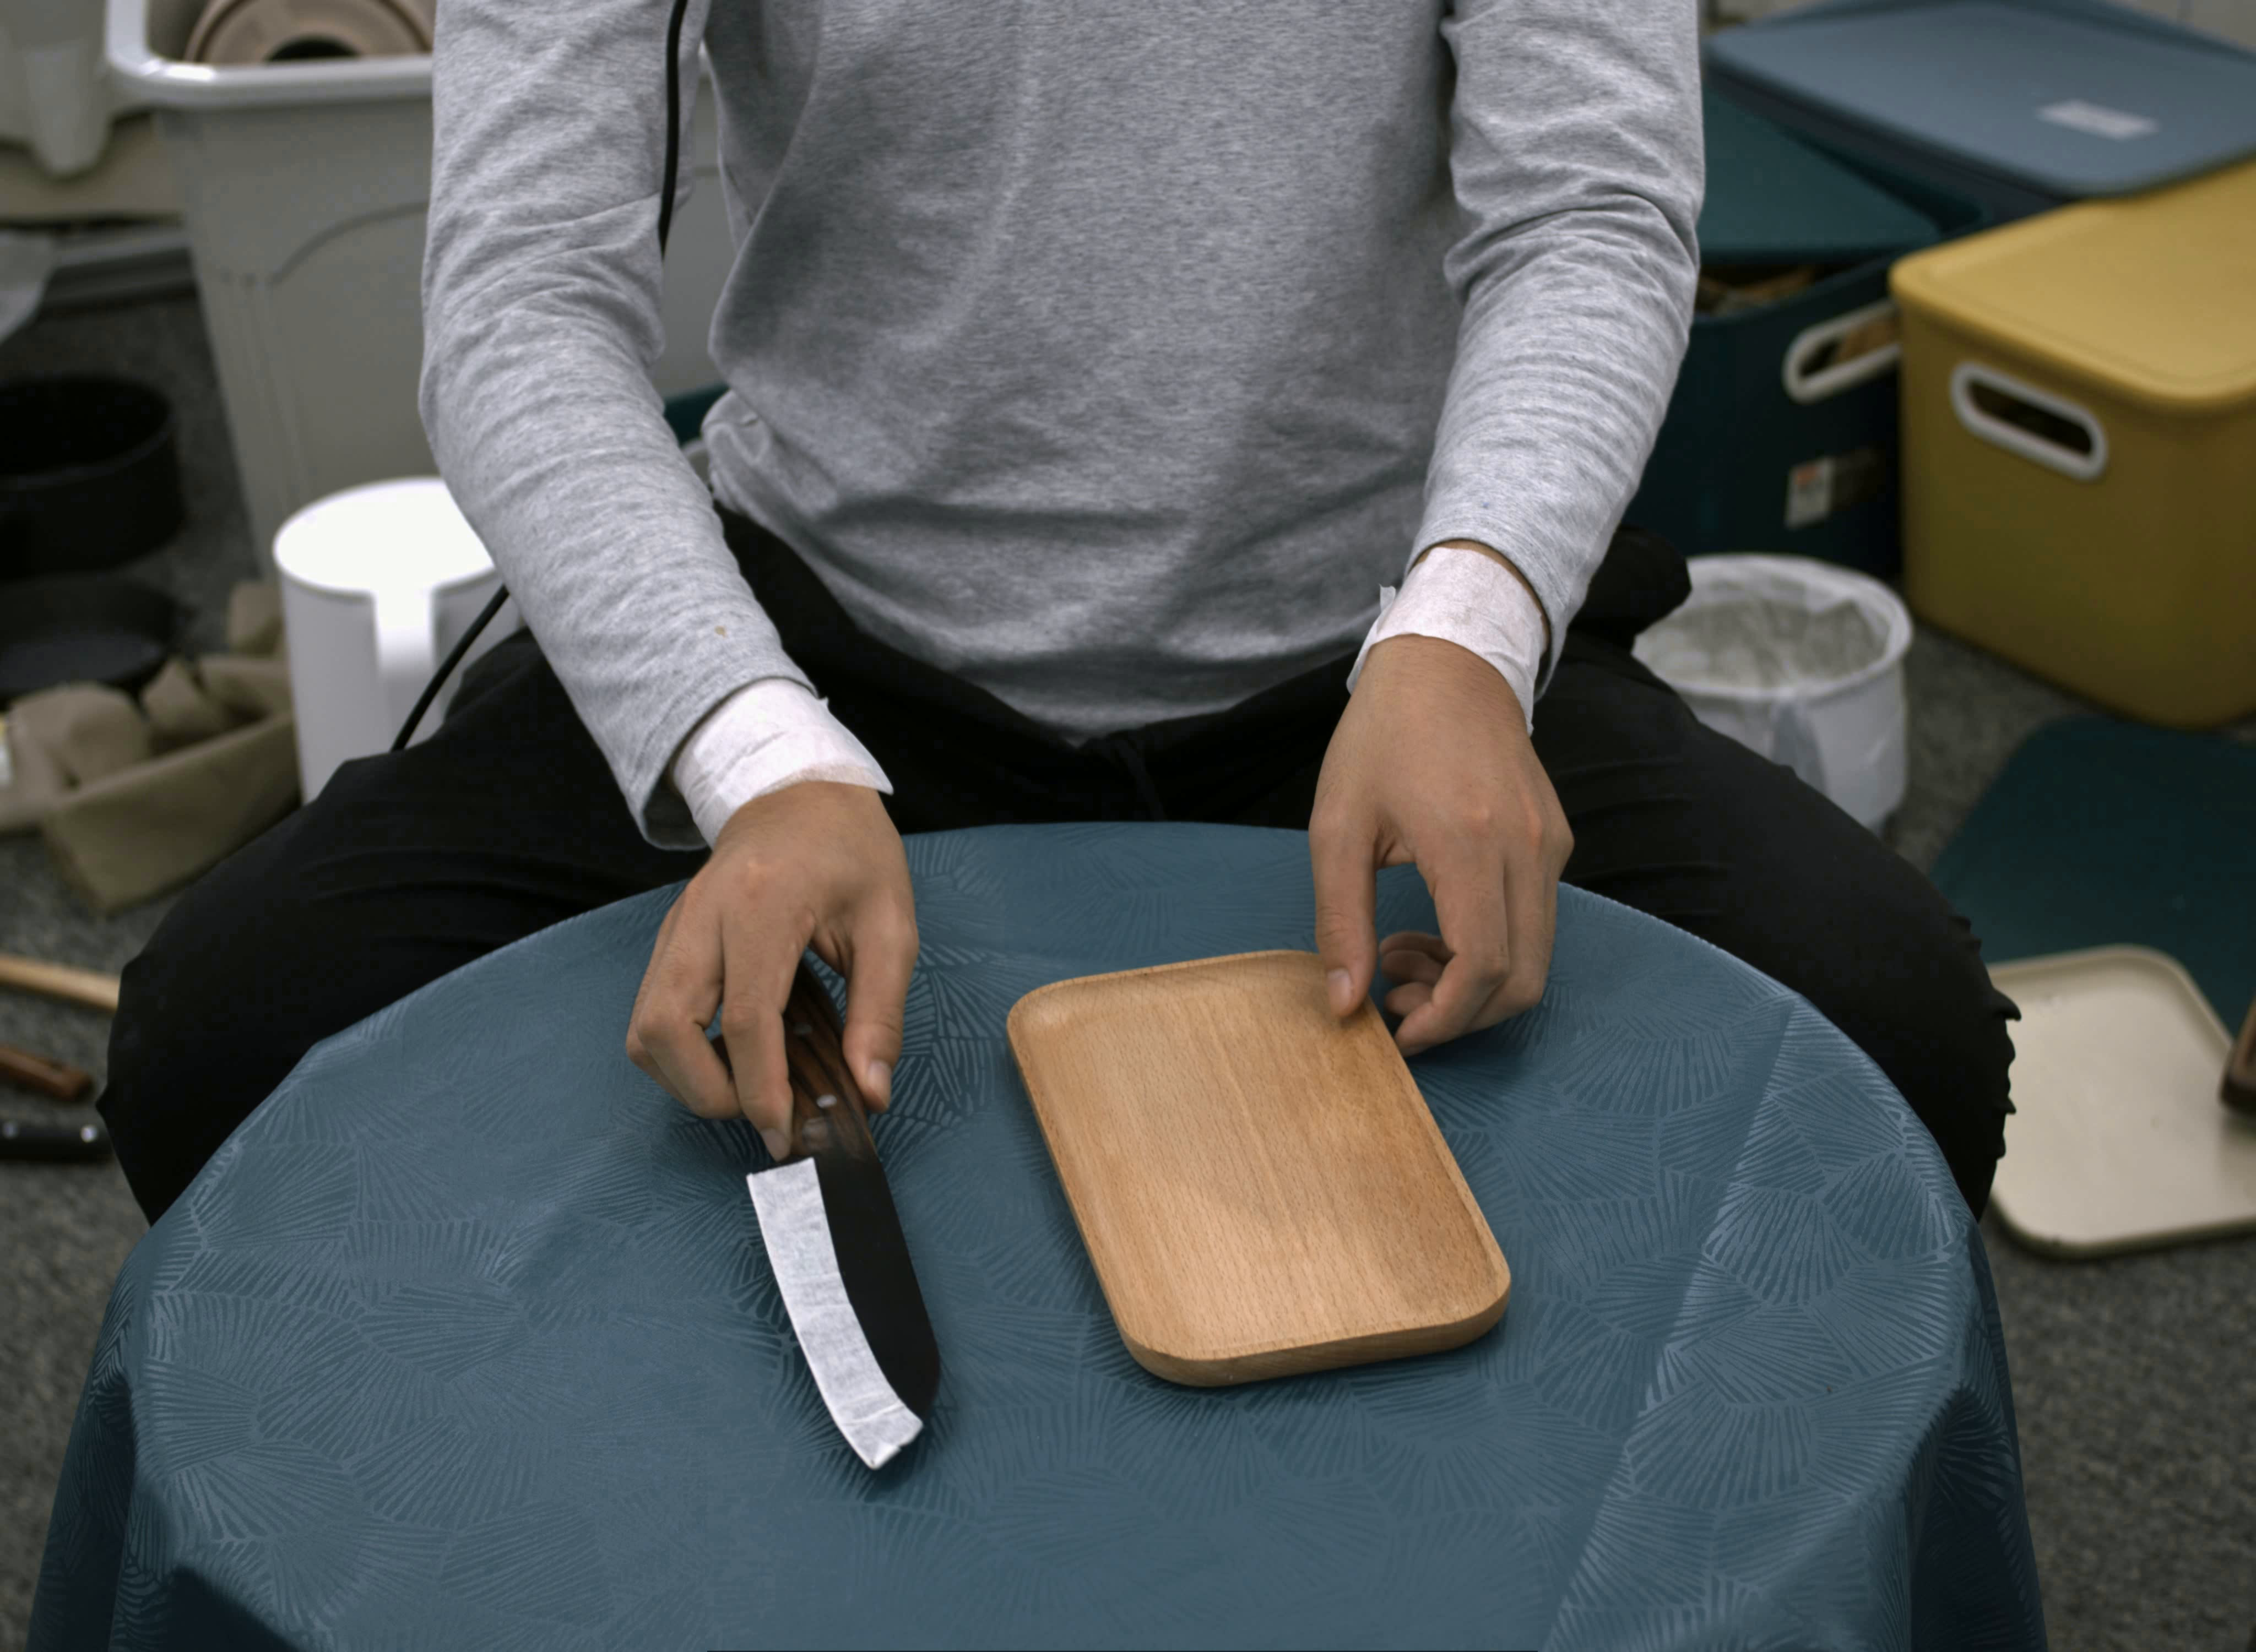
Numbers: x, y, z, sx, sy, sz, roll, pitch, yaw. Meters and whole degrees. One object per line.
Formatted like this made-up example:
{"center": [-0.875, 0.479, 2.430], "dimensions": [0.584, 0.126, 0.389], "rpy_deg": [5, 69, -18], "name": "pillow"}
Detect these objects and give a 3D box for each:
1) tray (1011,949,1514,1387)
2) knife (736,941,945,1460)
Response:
{"center": [0.041, 0.110, 1.862], "dimensions": [0.130, 0.022, 0.253], "rpy_deg": [-5, 26, -9], "name": "tray"}
{"center": [-0.099, 0.120, 1.828], "dimensions": [0.050, 0.020, 0.293], "rpy_deg": [-15, 32, -2], "name": "knife"}
